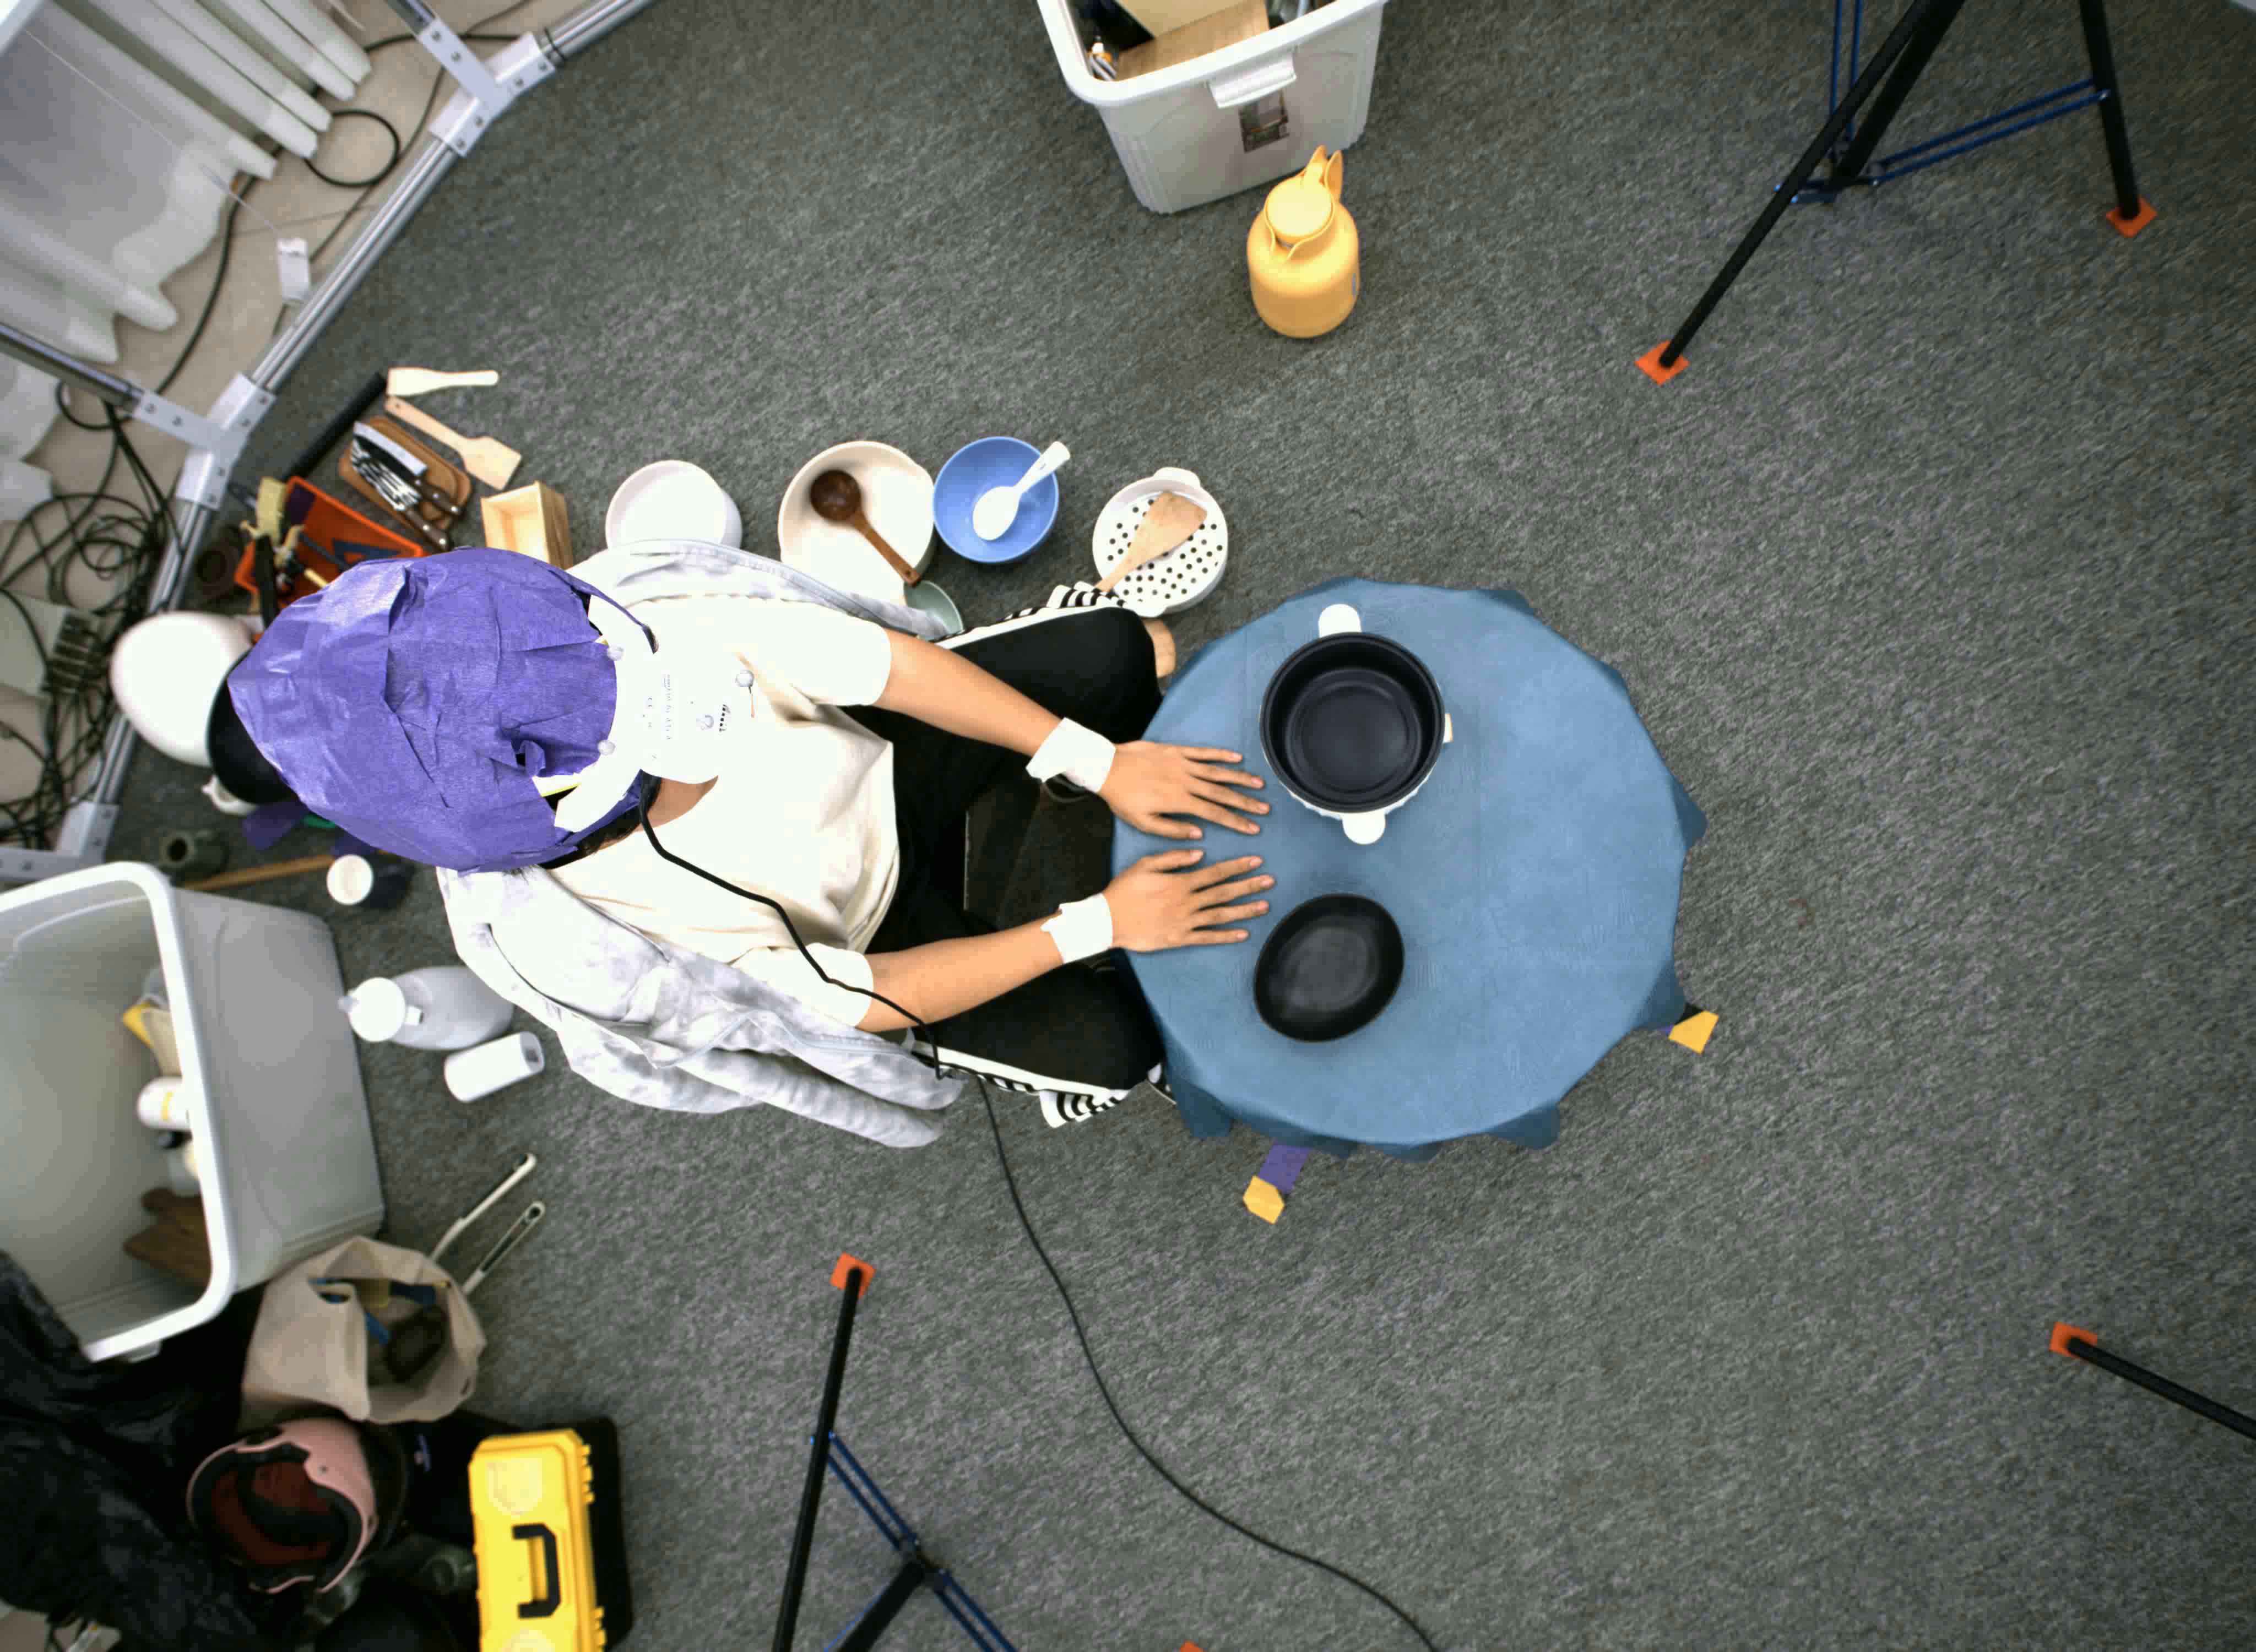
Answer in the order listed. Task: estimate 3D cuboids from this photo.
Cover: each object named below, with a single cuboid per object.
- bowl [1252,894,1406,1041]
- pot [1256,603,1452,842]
[{"bbox_3d":[0.208,0.147,1.433,0.171,0.067,0.136,-45,79,6],"label":"bowl"},{"bbox_3d":[0.233,-0.099,1.404,0.191,0.142,0.239,-8,85,13],"label":"pot"}]
